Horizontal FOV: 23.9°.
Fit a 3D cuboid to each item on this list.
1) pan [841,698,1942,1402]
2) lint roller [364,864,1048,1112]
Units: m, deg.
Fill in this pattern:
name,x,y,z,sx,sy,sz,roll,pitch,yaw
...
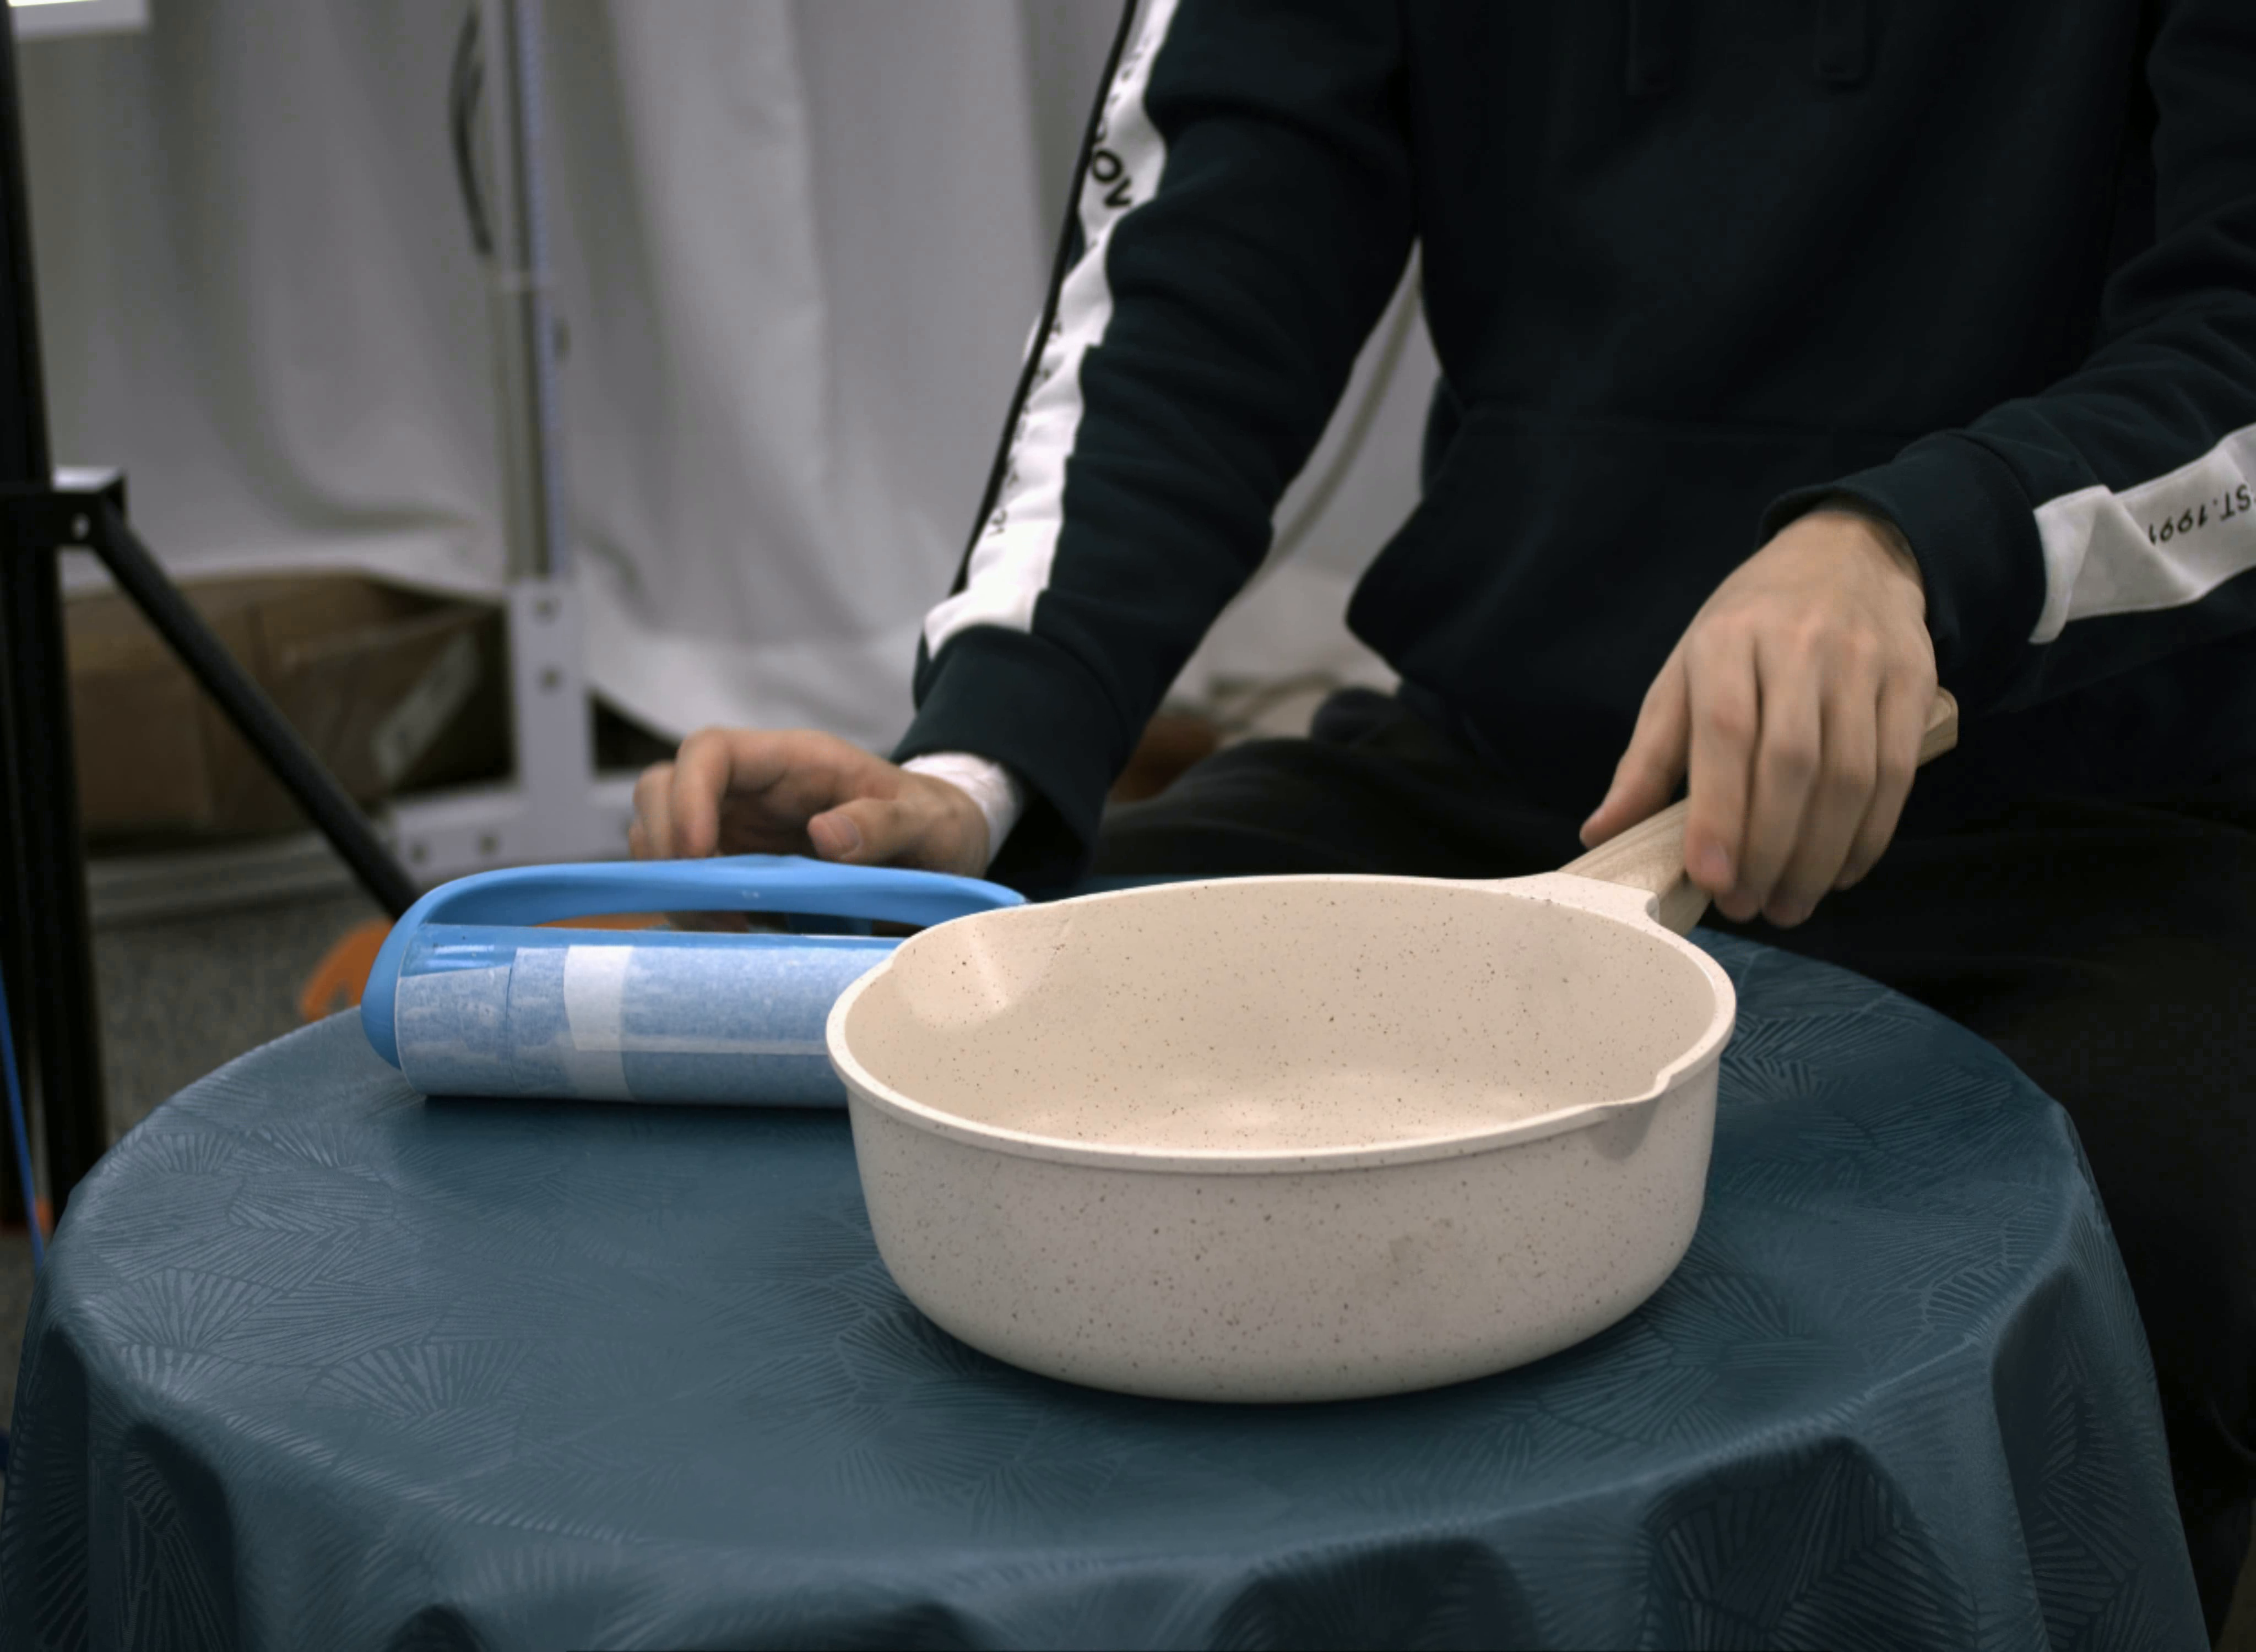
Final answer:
name,x,y,z,sx,sy,sz,roll,pitch,yaw
pan,0.109,0.060,1.526,0.269,0.102,0.425,10,20,42
lint roller,-0.118,0.042,1.706,0.230,0.068,0.179,-1,17,11
